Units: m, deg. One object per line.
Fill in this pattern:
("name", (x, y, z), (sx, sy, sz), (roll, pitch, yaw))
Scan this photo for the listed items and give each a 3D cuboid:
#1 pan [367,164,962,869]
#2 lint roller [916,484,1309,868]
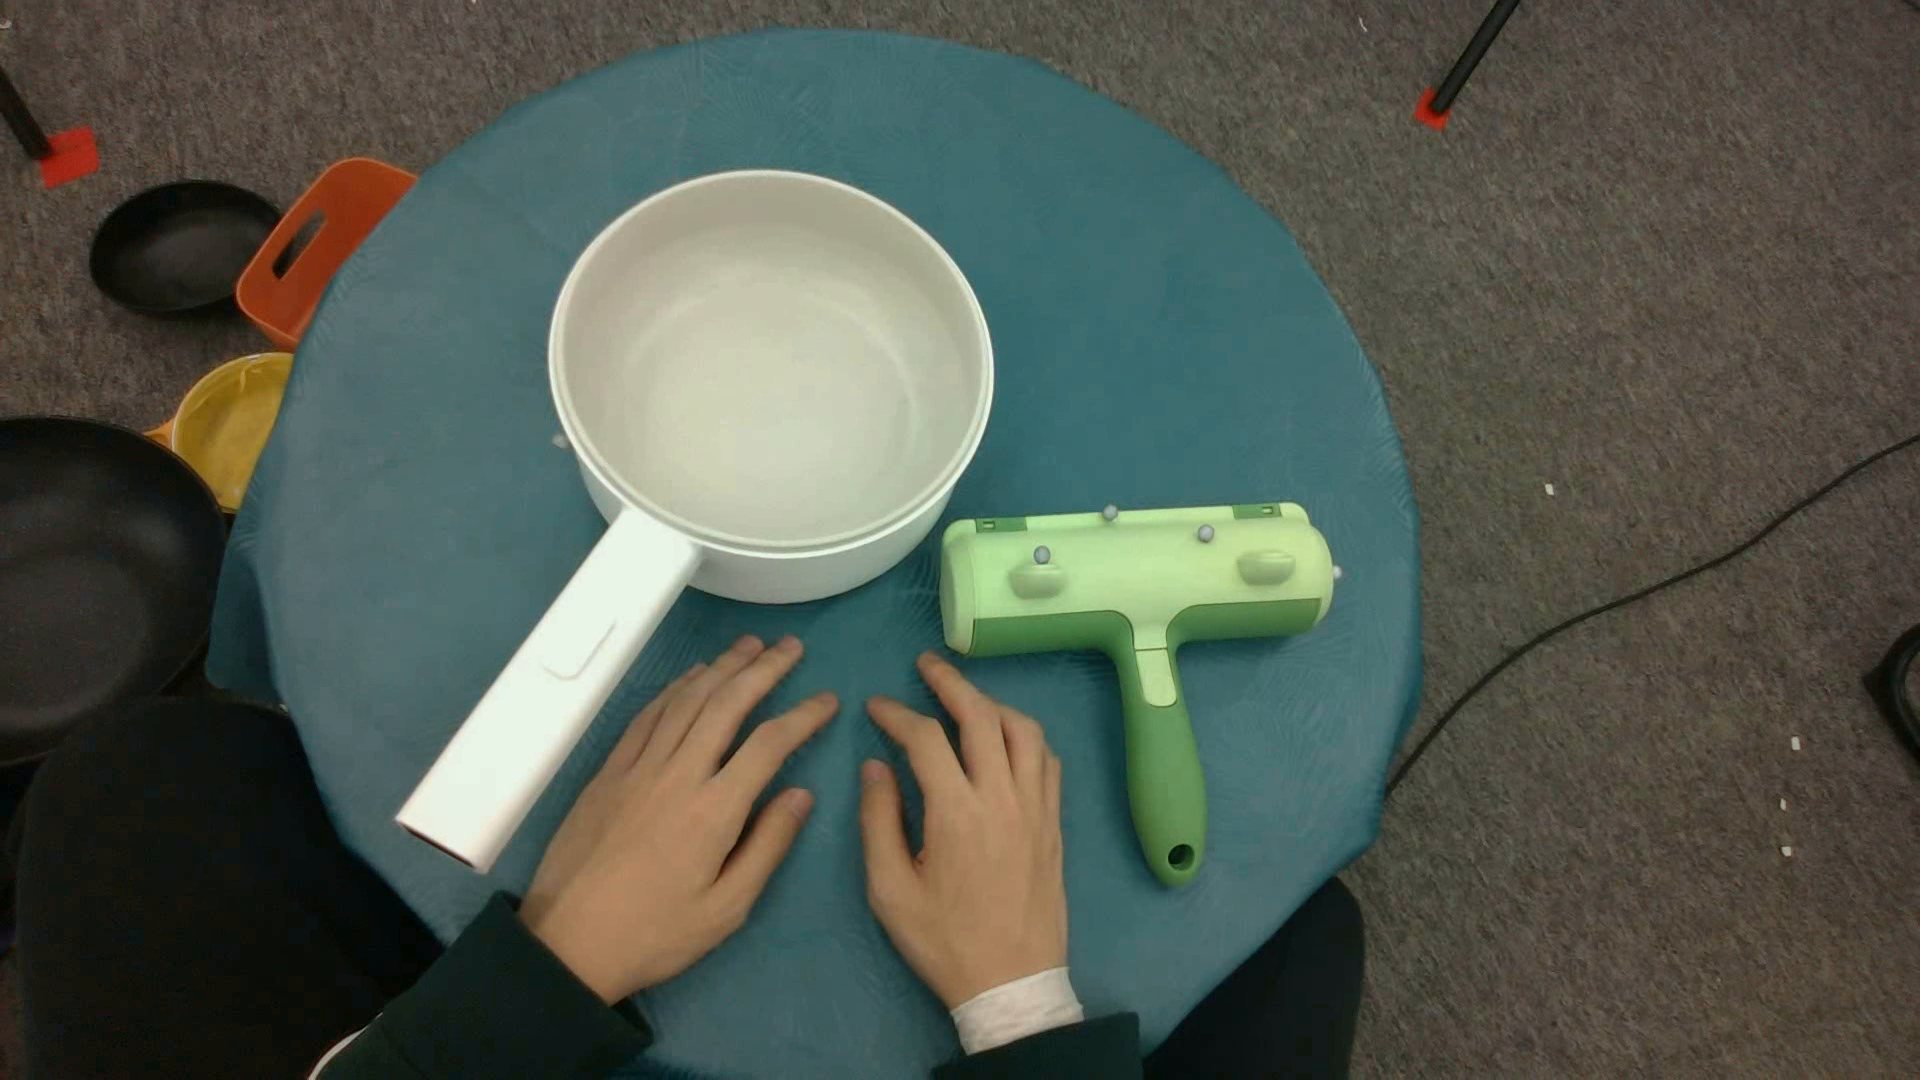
("pan", (-0.139, -0.010, 0.639), (0.201, 0.101, 0.356), (28, 66, 1))
("lint roller", (0.087, 0.060, 0.664), (0.199, 0.082, 0.184), (-4, 63, -13))
